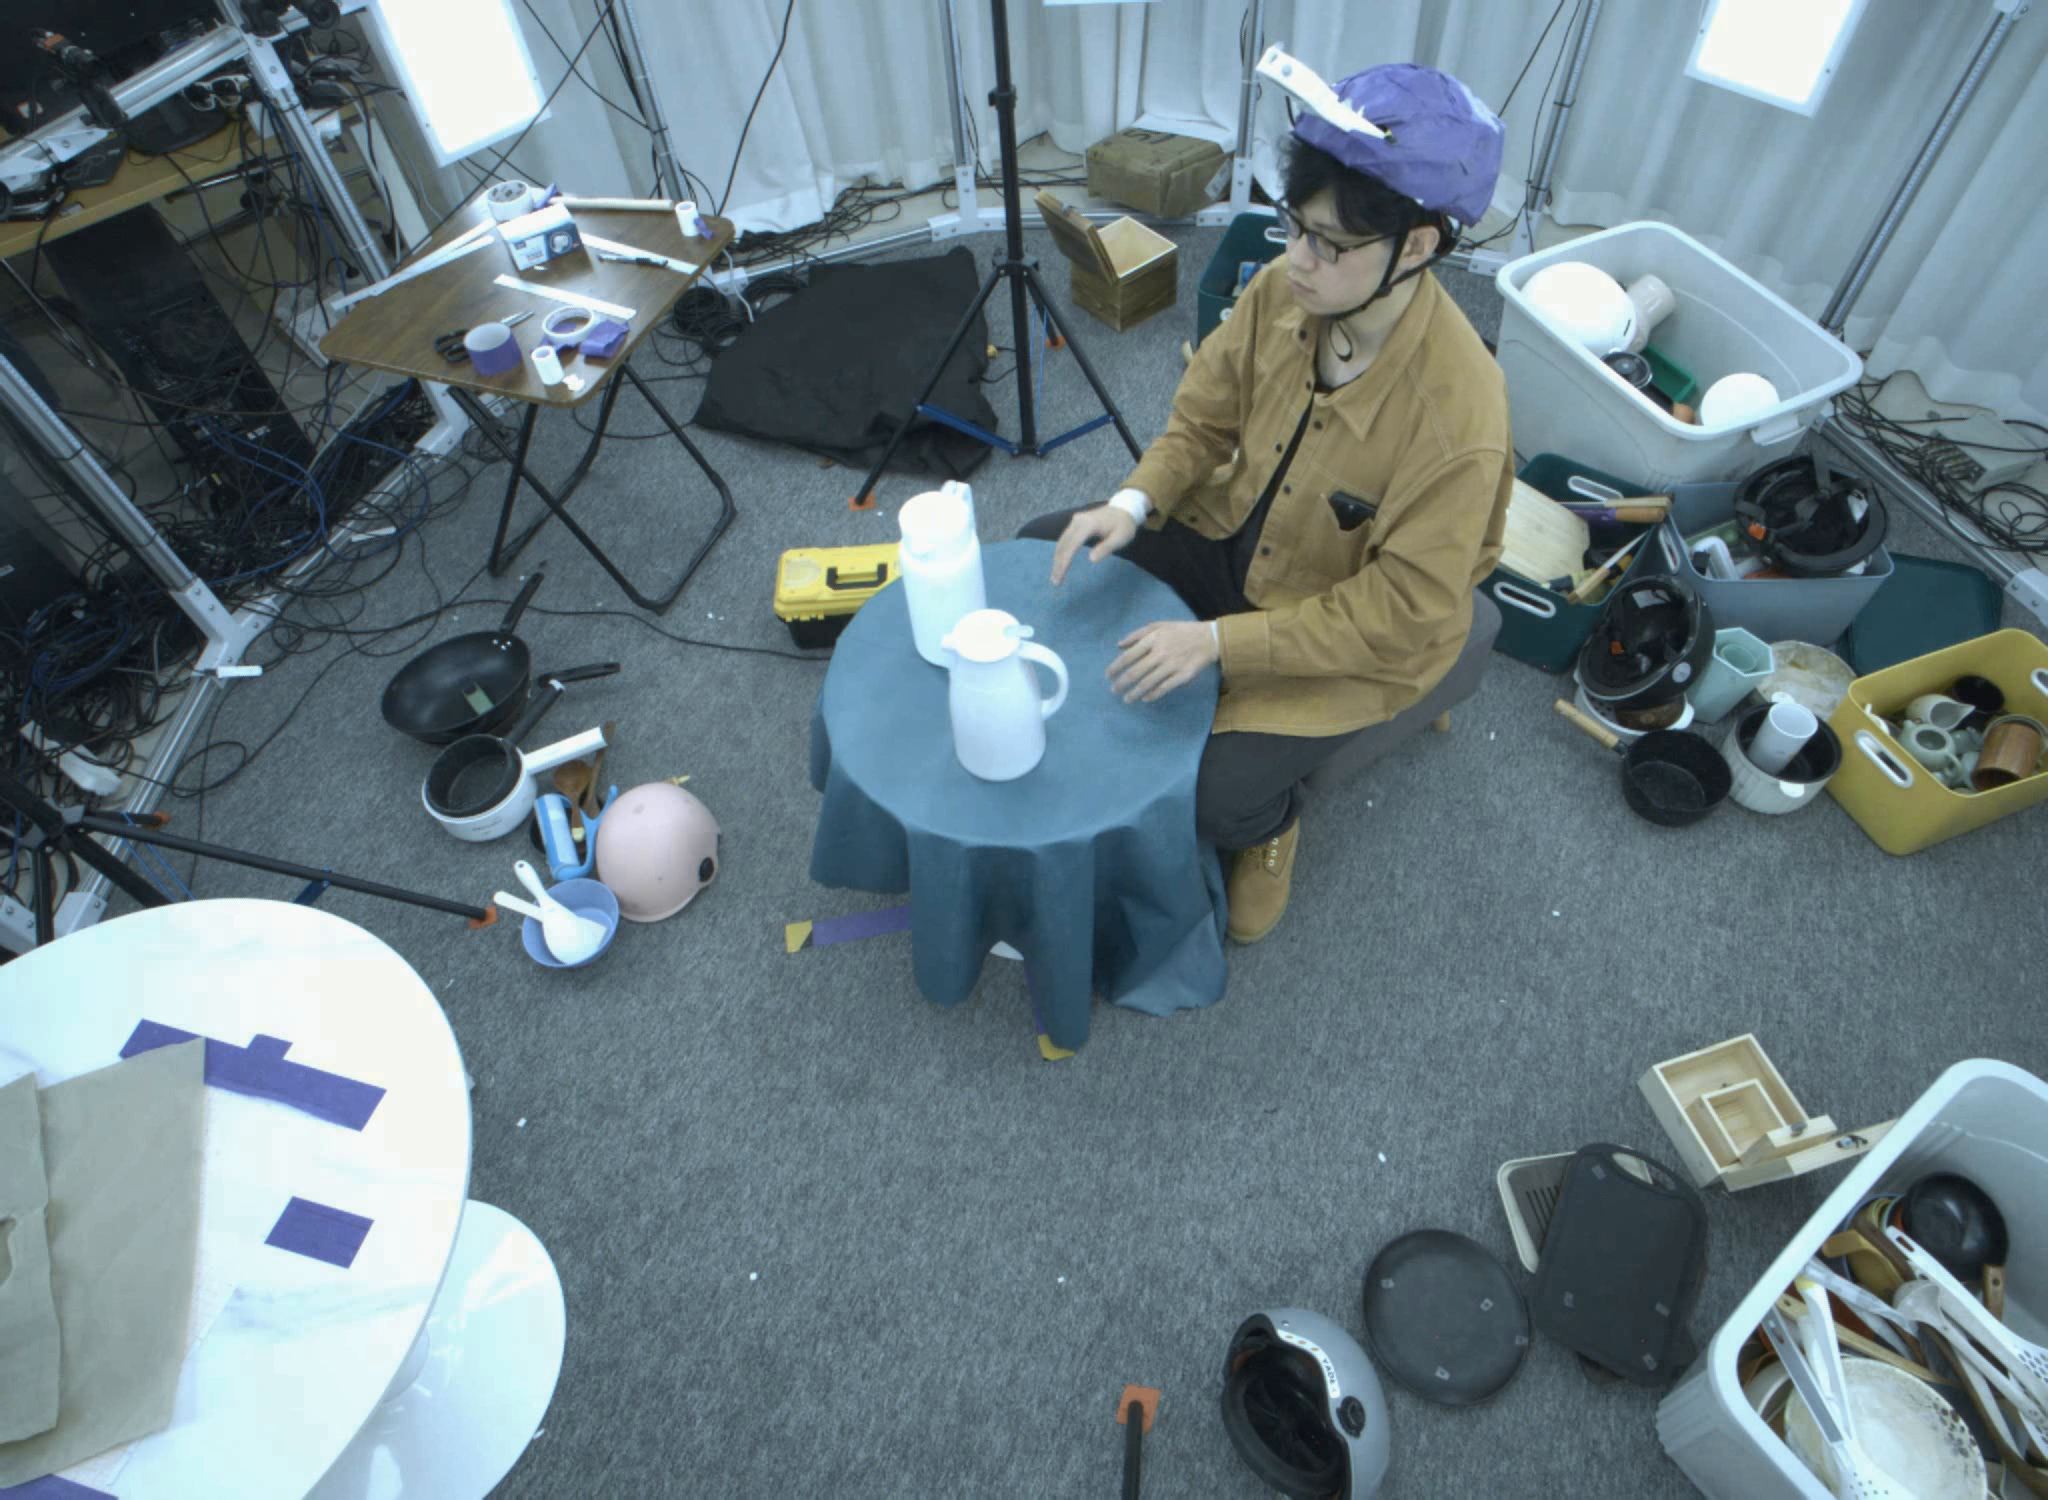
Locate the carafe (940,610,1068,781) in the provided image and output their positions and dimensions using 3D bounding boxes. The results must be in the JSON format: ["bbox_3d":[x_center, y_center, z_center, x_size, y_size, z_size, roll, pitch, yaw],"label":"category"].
[{"bbox_3d":[-0.023,-0.081,1.688,0.167,0.251,0.131,2,54,4],"label":"carafe"}]

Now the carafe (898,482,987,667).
[{"bbox_3d":[-0.115,-0.262,1.809,0.122,0.272,0.172,11,55,14],"label":"carafe"}]
